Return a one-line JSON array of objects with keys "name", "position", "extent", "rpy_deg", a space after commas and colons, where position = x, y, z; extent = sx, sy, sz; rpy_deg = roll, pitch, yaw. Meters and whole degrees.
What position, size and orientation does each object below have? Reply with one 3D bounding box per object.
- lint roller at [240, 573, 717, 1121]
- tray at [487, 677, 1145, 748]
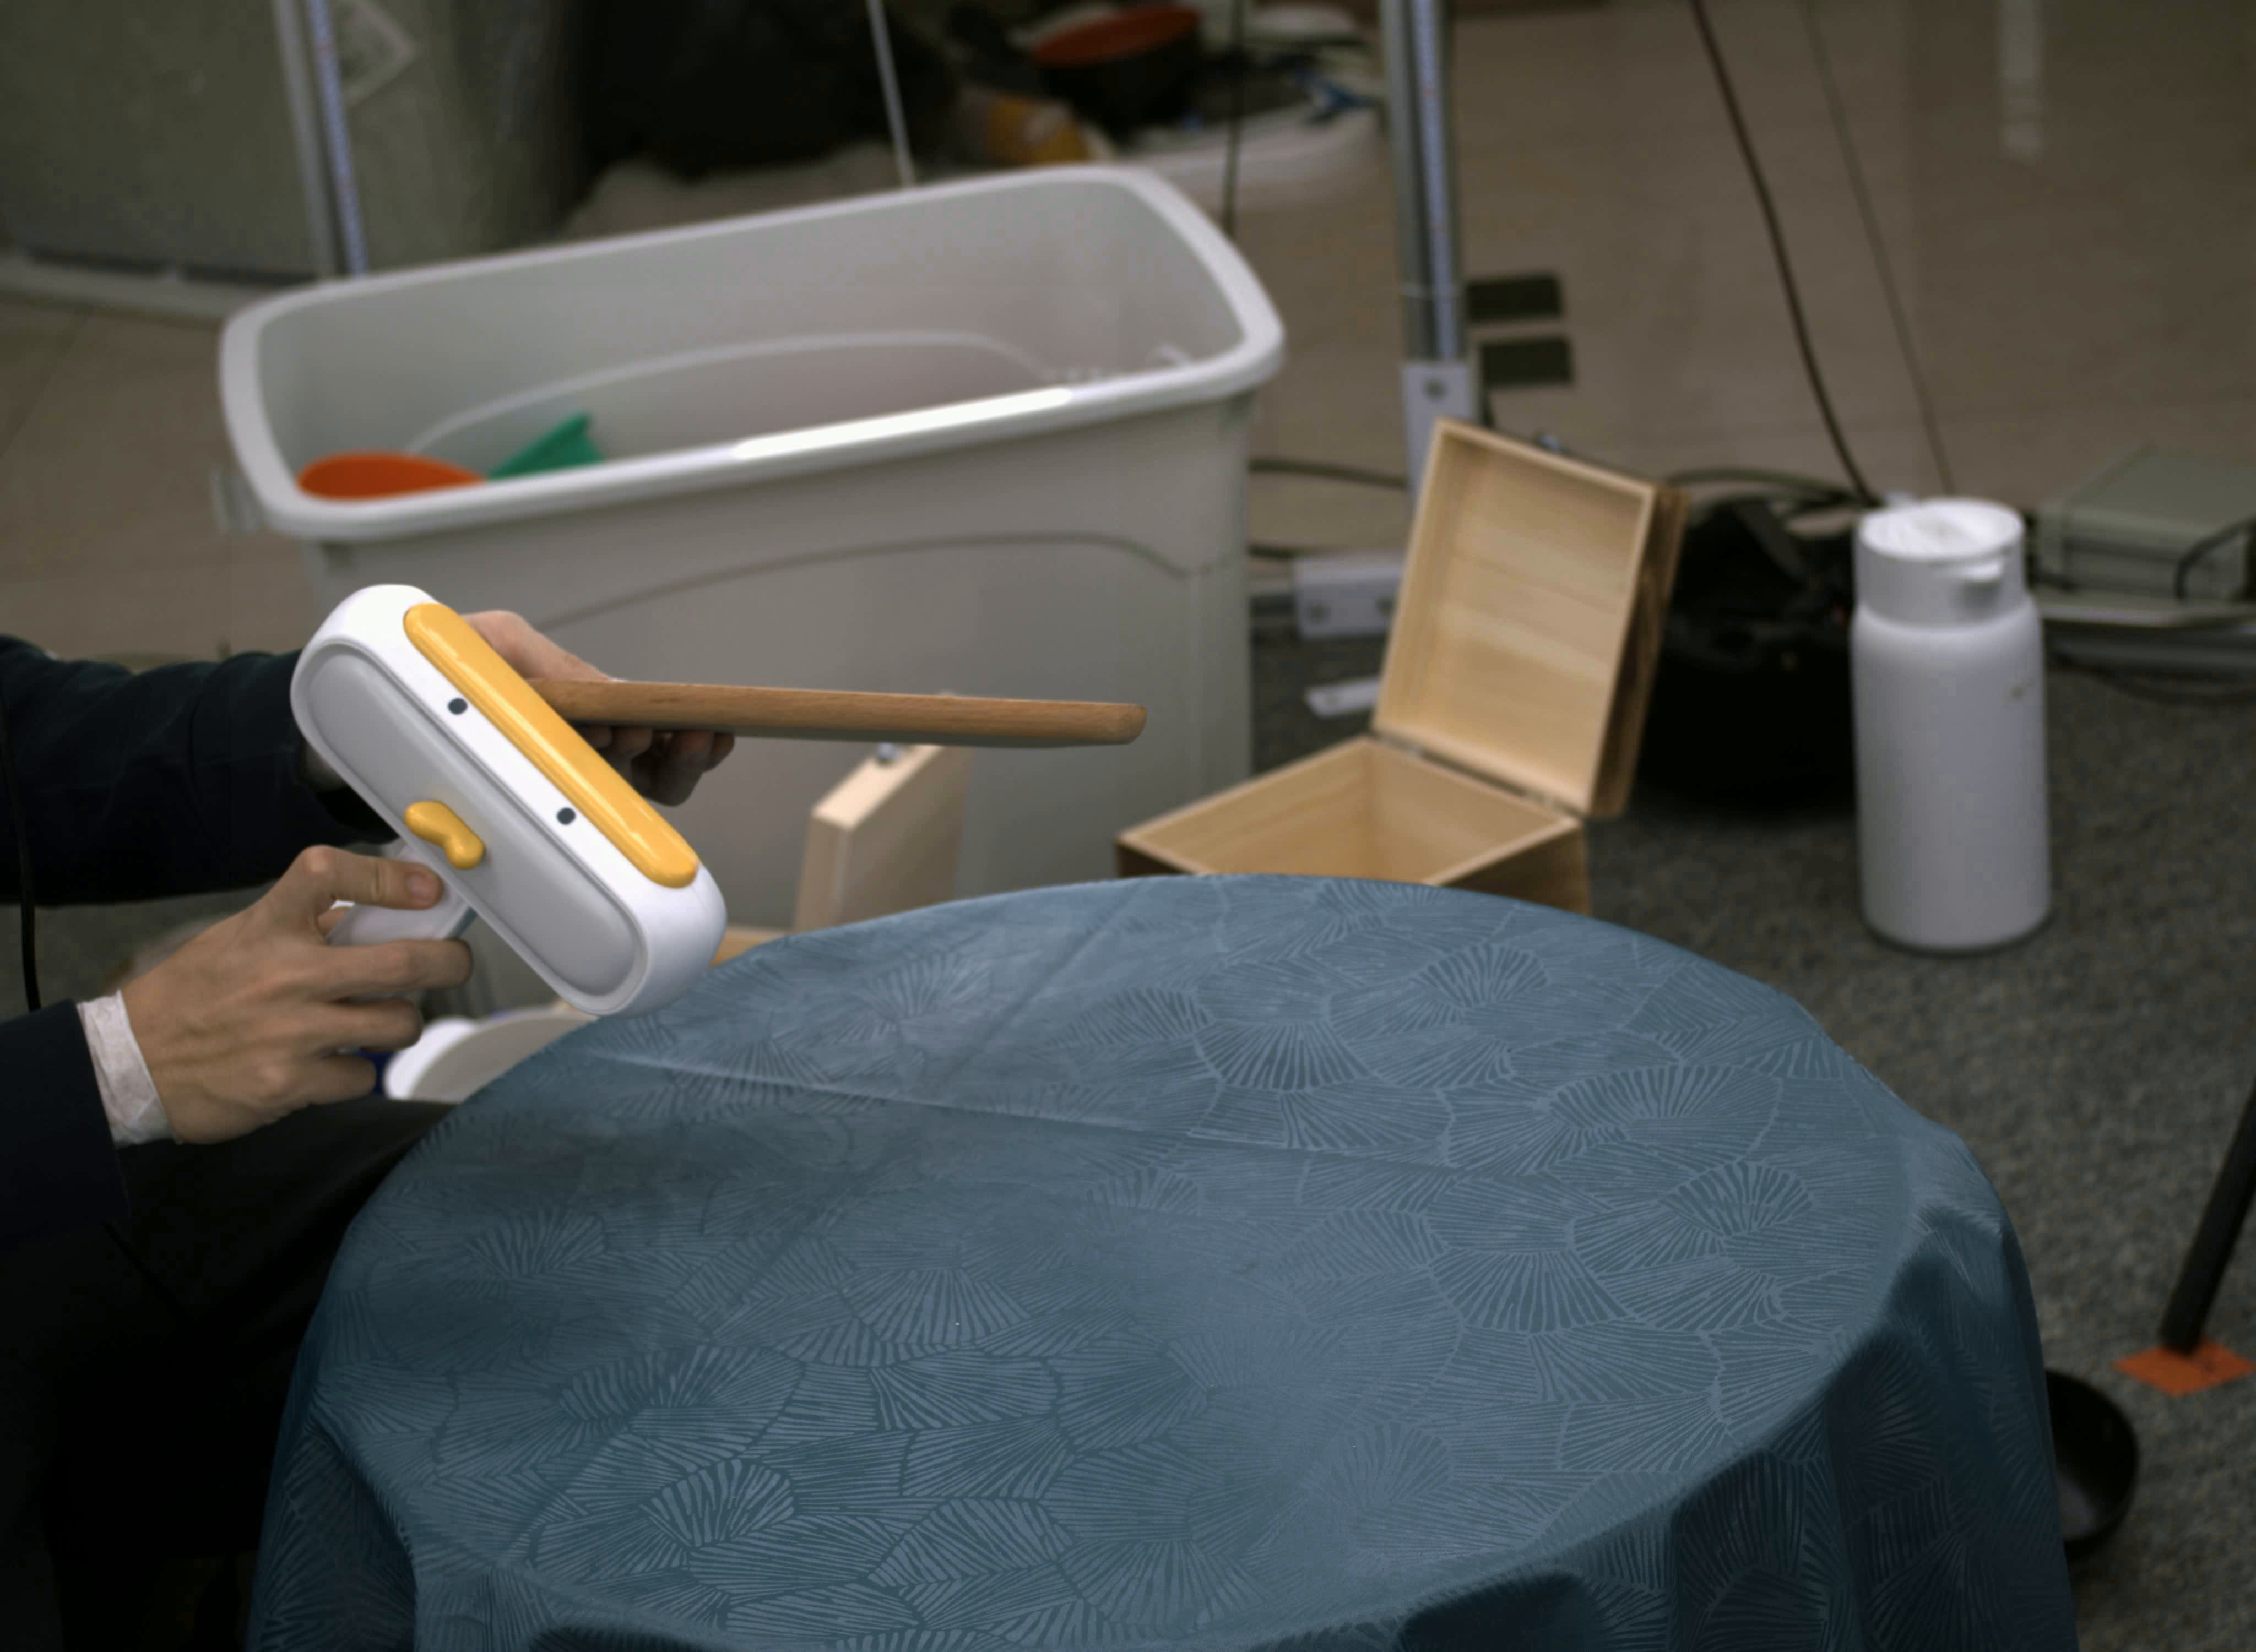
[{"name": "lint roller", "position": [-0.266, 0.030, 2.104], "extent": [0.192, 0.195, 0.073], "rpy_deg": [38, 31, 3]}, {"name": "tray", "position": [-0.124, -0.043, 2.169], "extent": [0.250, 0.023, 0.130], "rpy_deg": [1, -3, -22]}]
